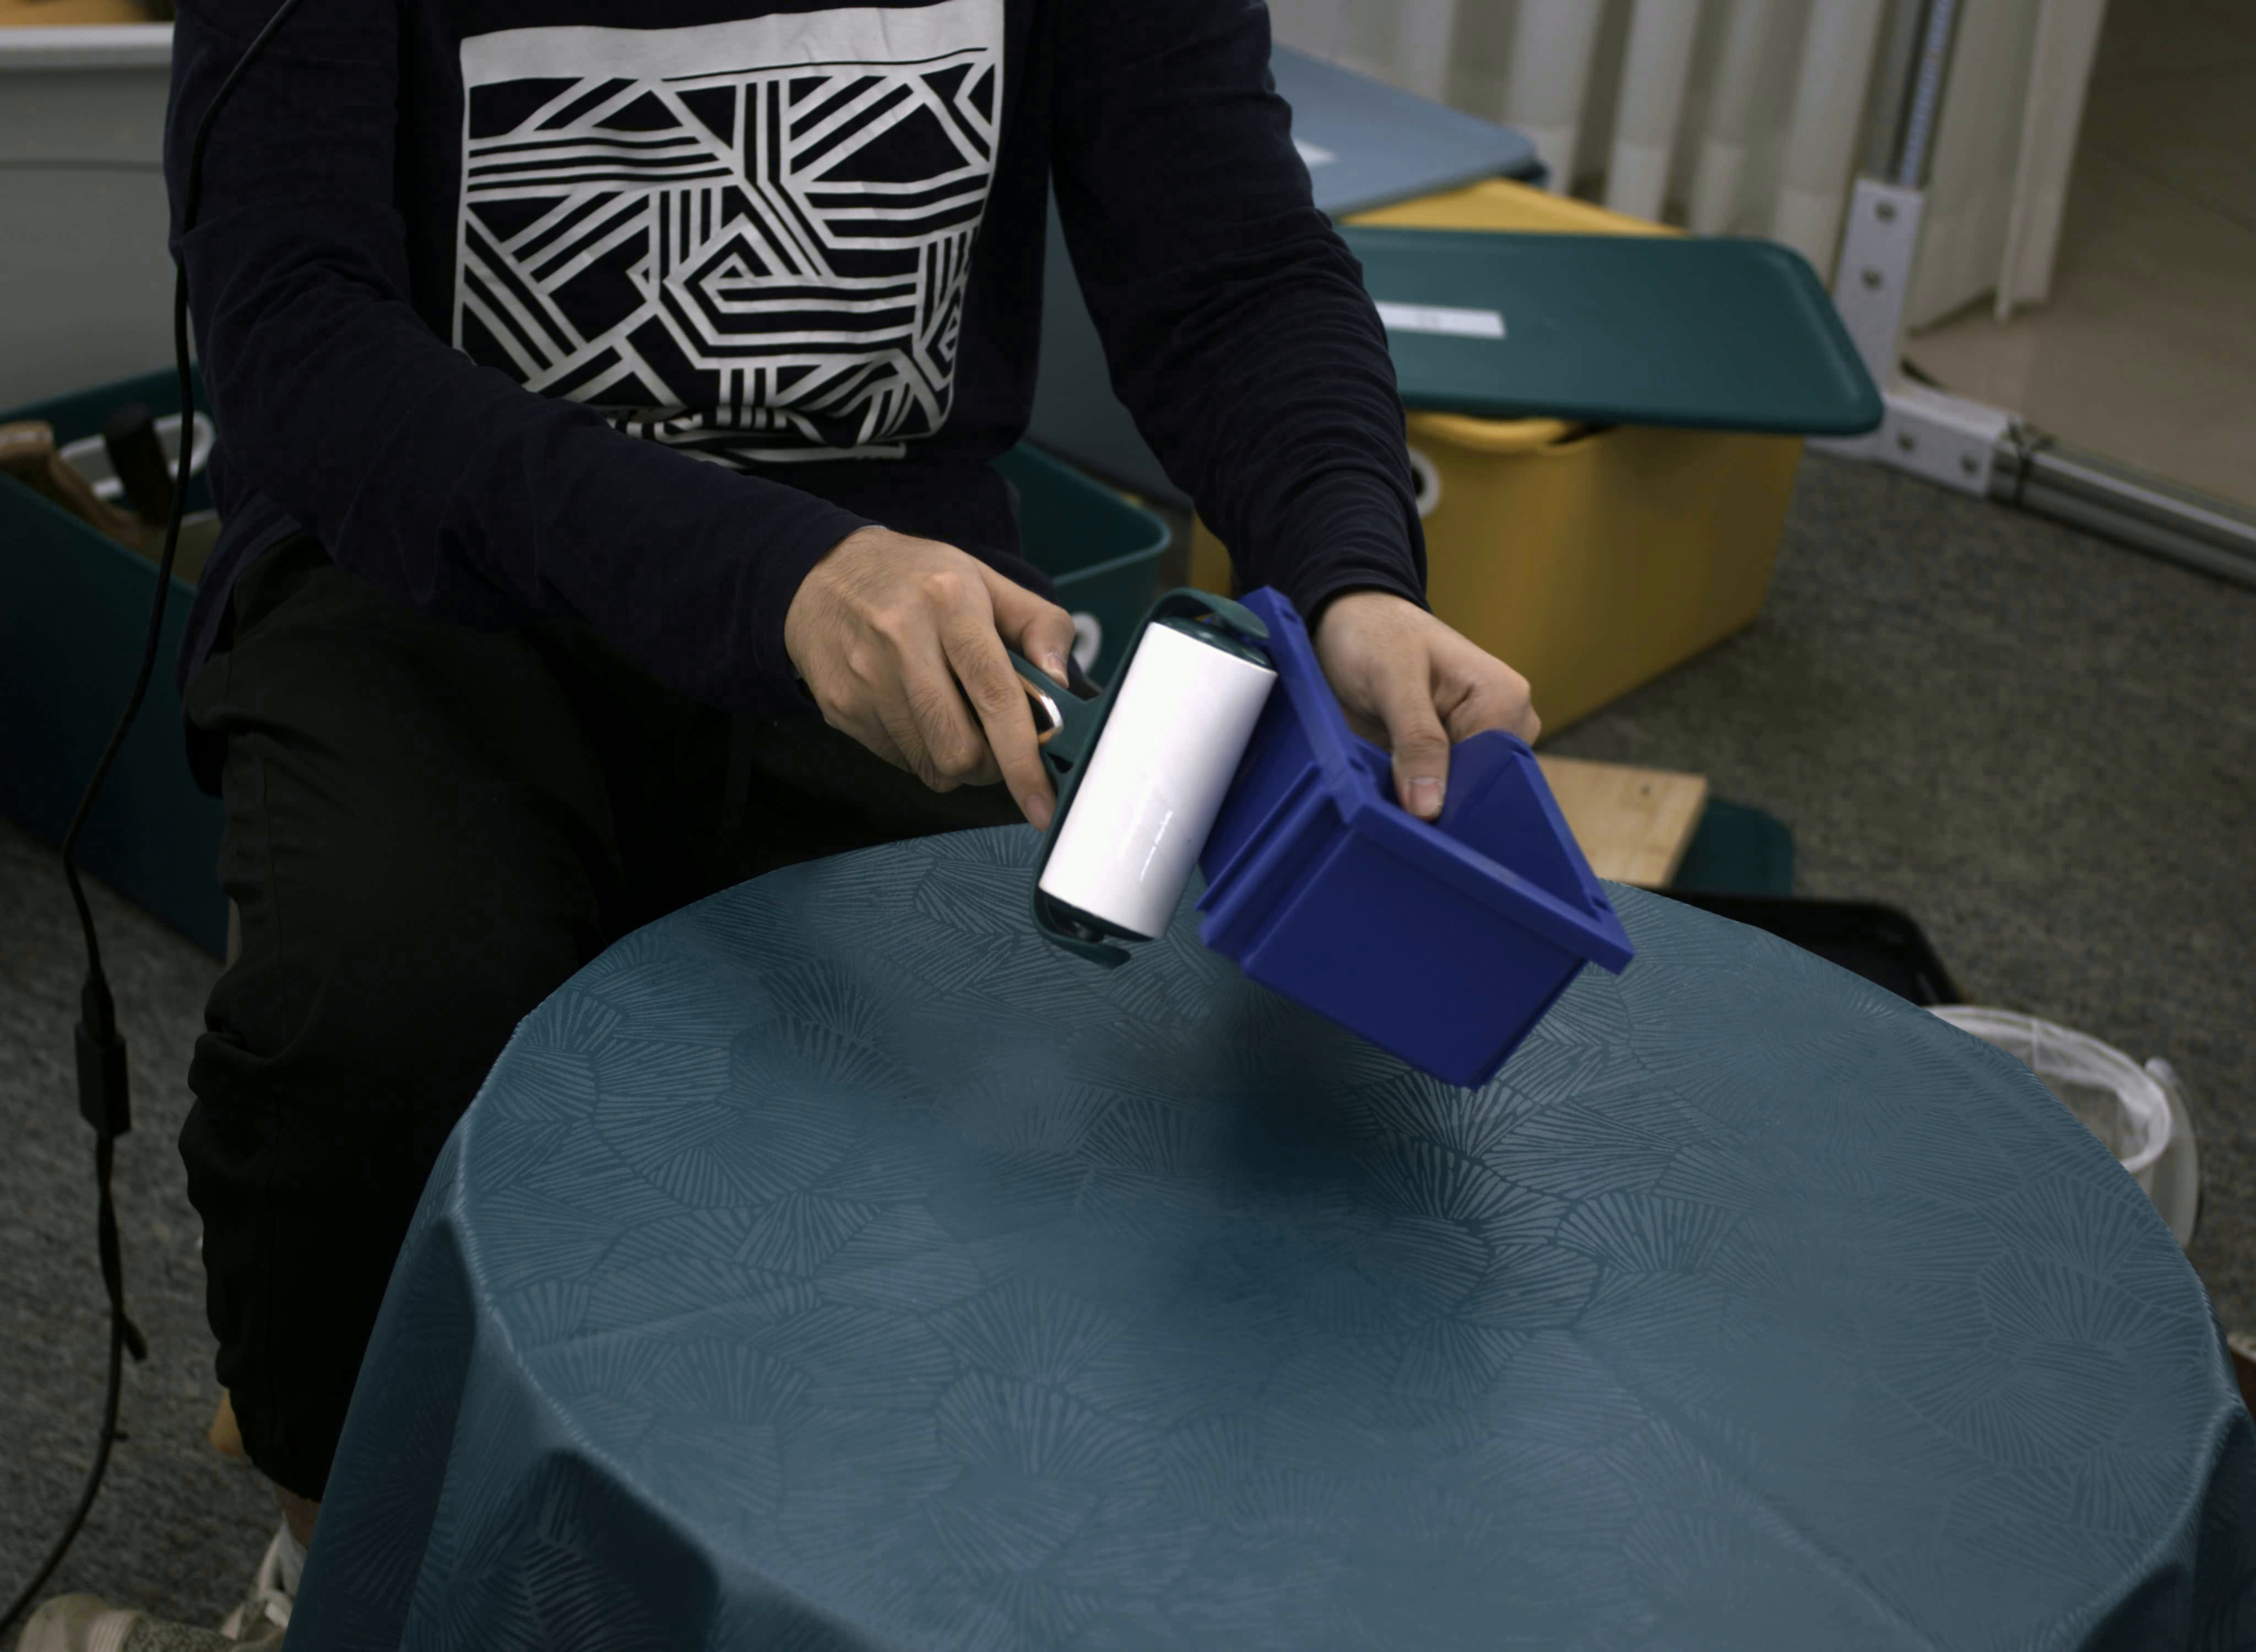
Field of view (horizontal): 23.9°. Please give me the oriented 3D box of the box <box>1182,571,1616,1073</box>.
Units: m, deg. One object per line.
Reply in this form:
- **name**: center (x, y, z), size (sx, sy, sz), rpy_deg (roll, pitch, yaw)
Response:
- **box**: center (0.079, -0.006, 1.843), size (0.123, 0.082, 0.181), rpy_deg (29, 23, -23)

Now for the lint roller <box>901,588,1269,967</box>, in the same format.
- **lint roller**: center (-0.035, -0.037, 1.861), size (0.048, 0.134, 0.181), rpy_deg (19, 4, -46)
